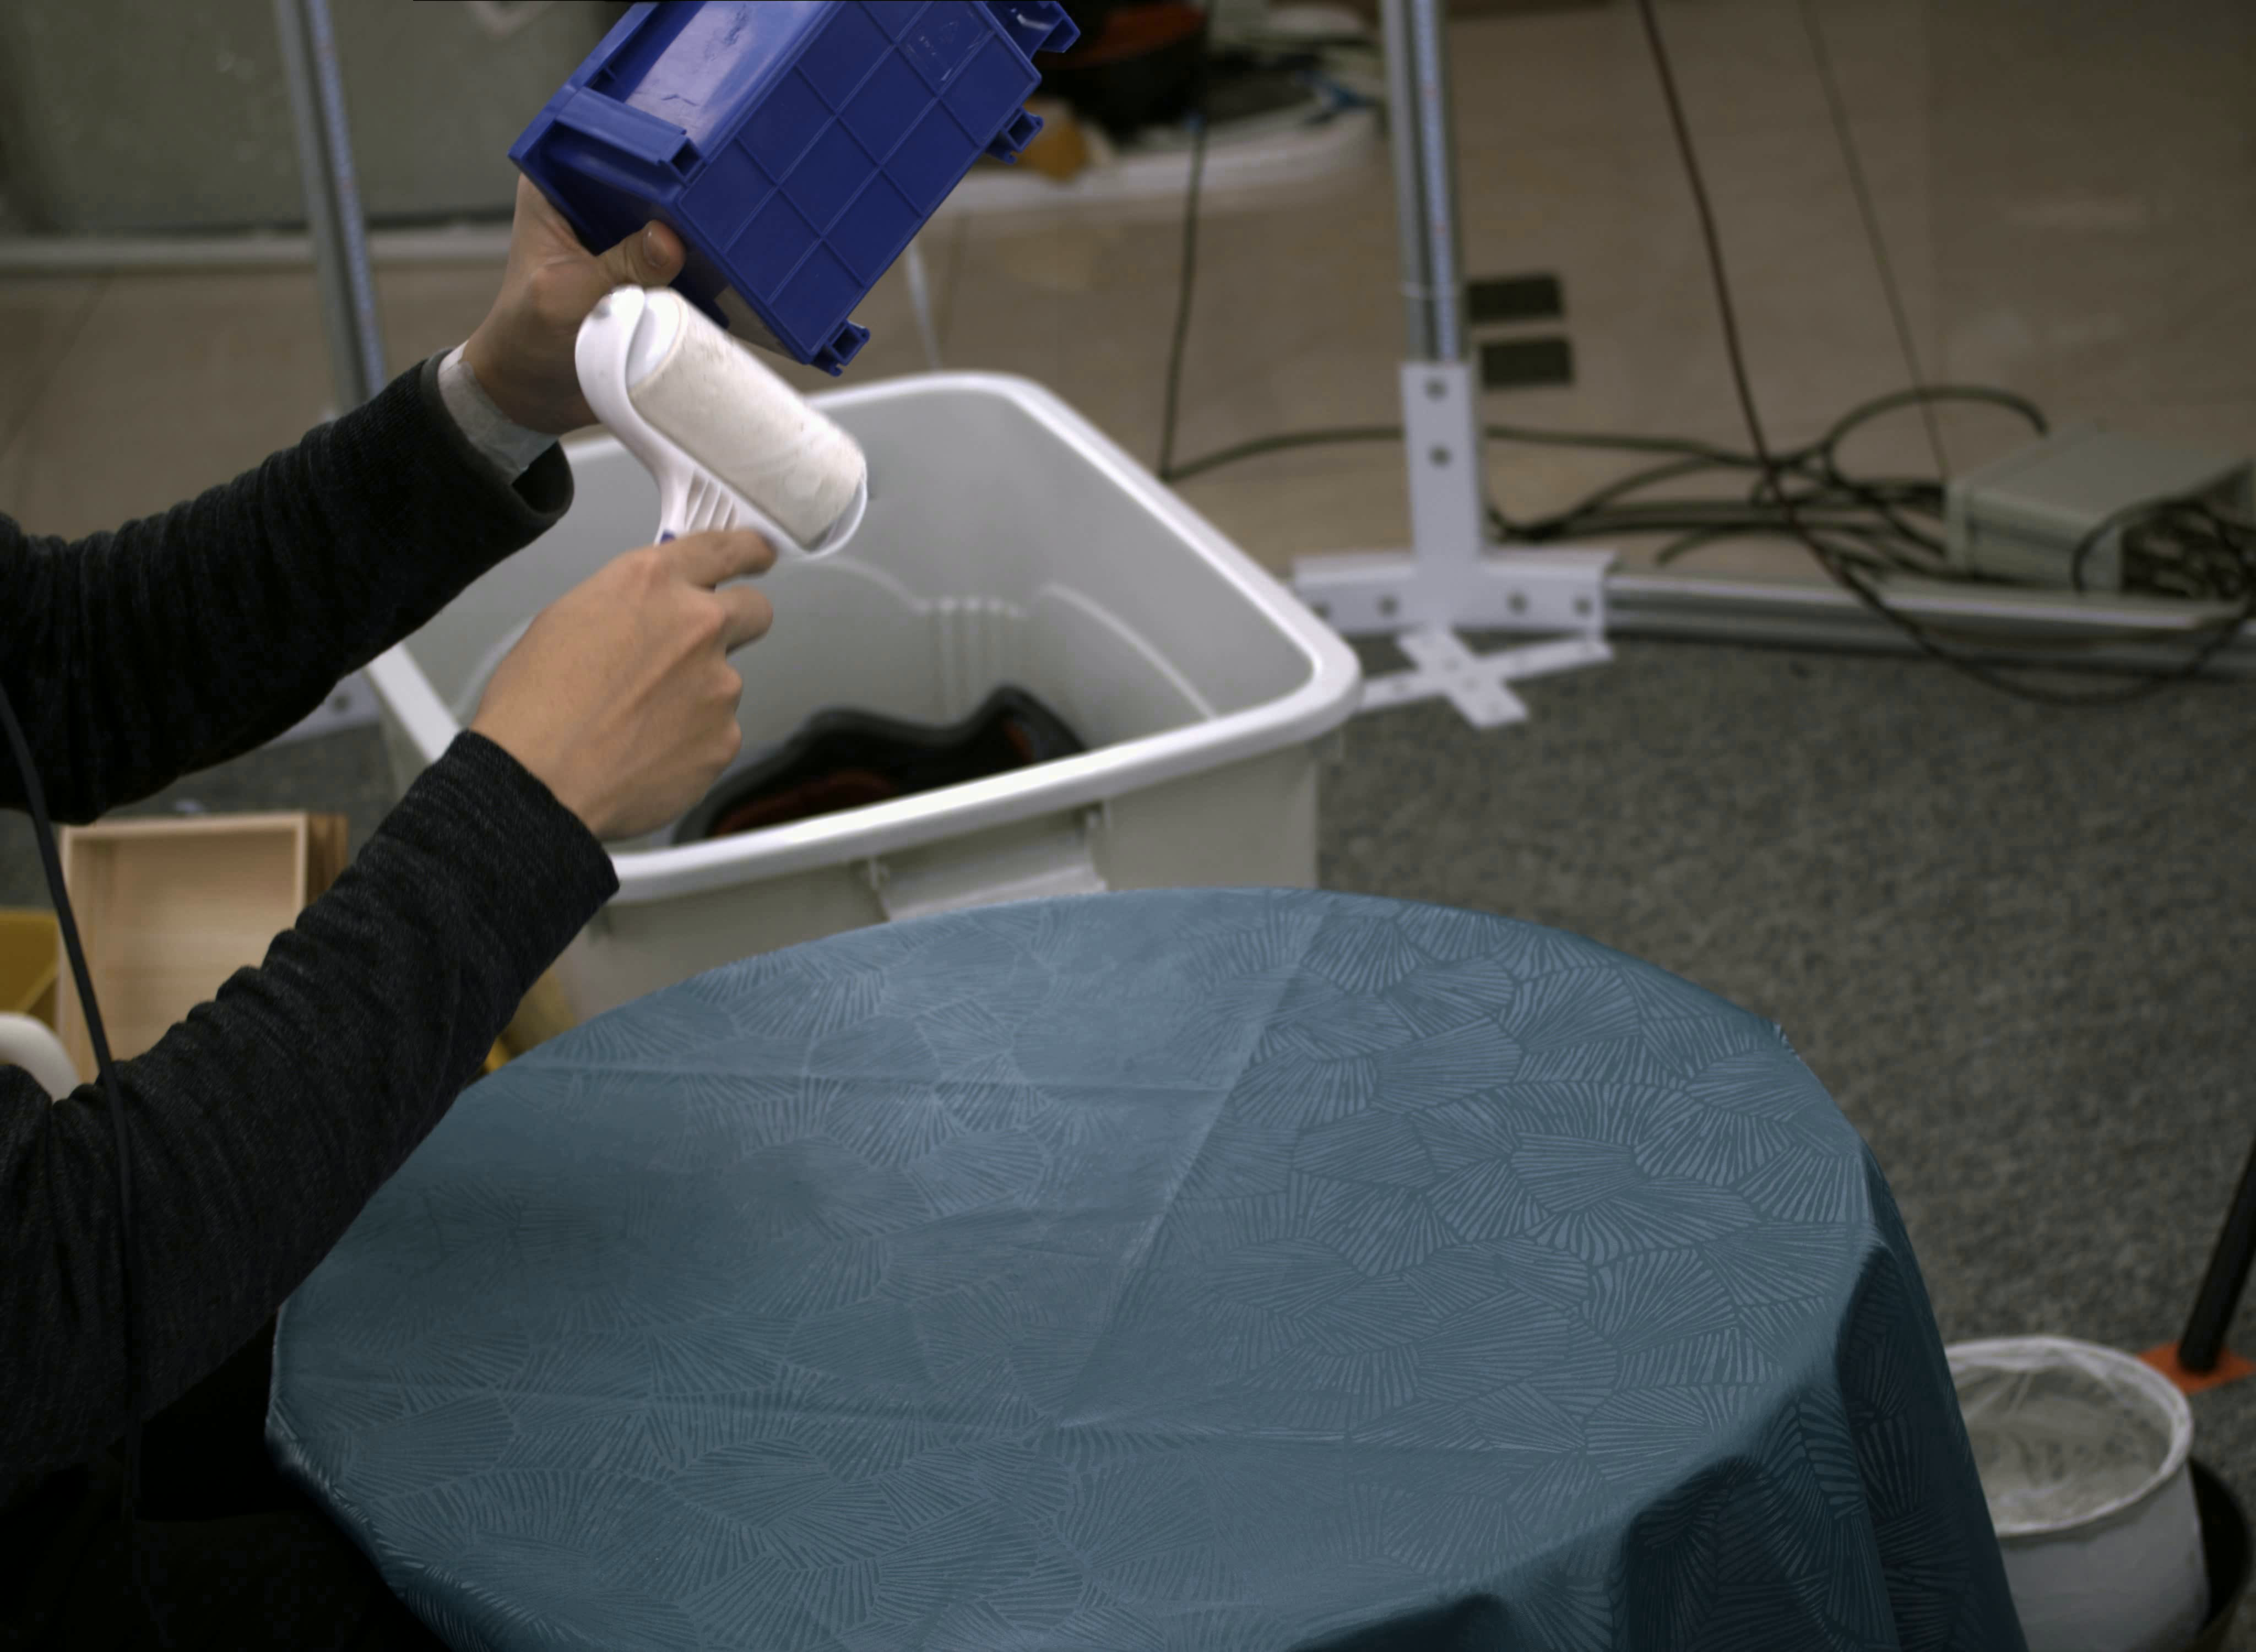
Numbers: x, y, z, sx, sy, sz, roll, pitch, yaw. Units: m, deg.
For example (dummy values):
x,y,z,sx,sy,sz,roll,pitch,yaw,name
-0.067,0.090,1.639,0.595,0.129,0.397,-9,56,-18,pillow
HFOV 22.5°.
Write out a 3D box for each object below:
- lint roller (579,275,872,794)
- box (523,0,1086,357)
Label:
x,y,z,sx,sy,sz,roll,pitch,yaw,name
-0.150,-0.095,1.975,0.050,0.134,0.178,-15,52,34,lint roller
-0.110,-0.271,2.056,0.081,0.126,0.178,26,76,46,box
